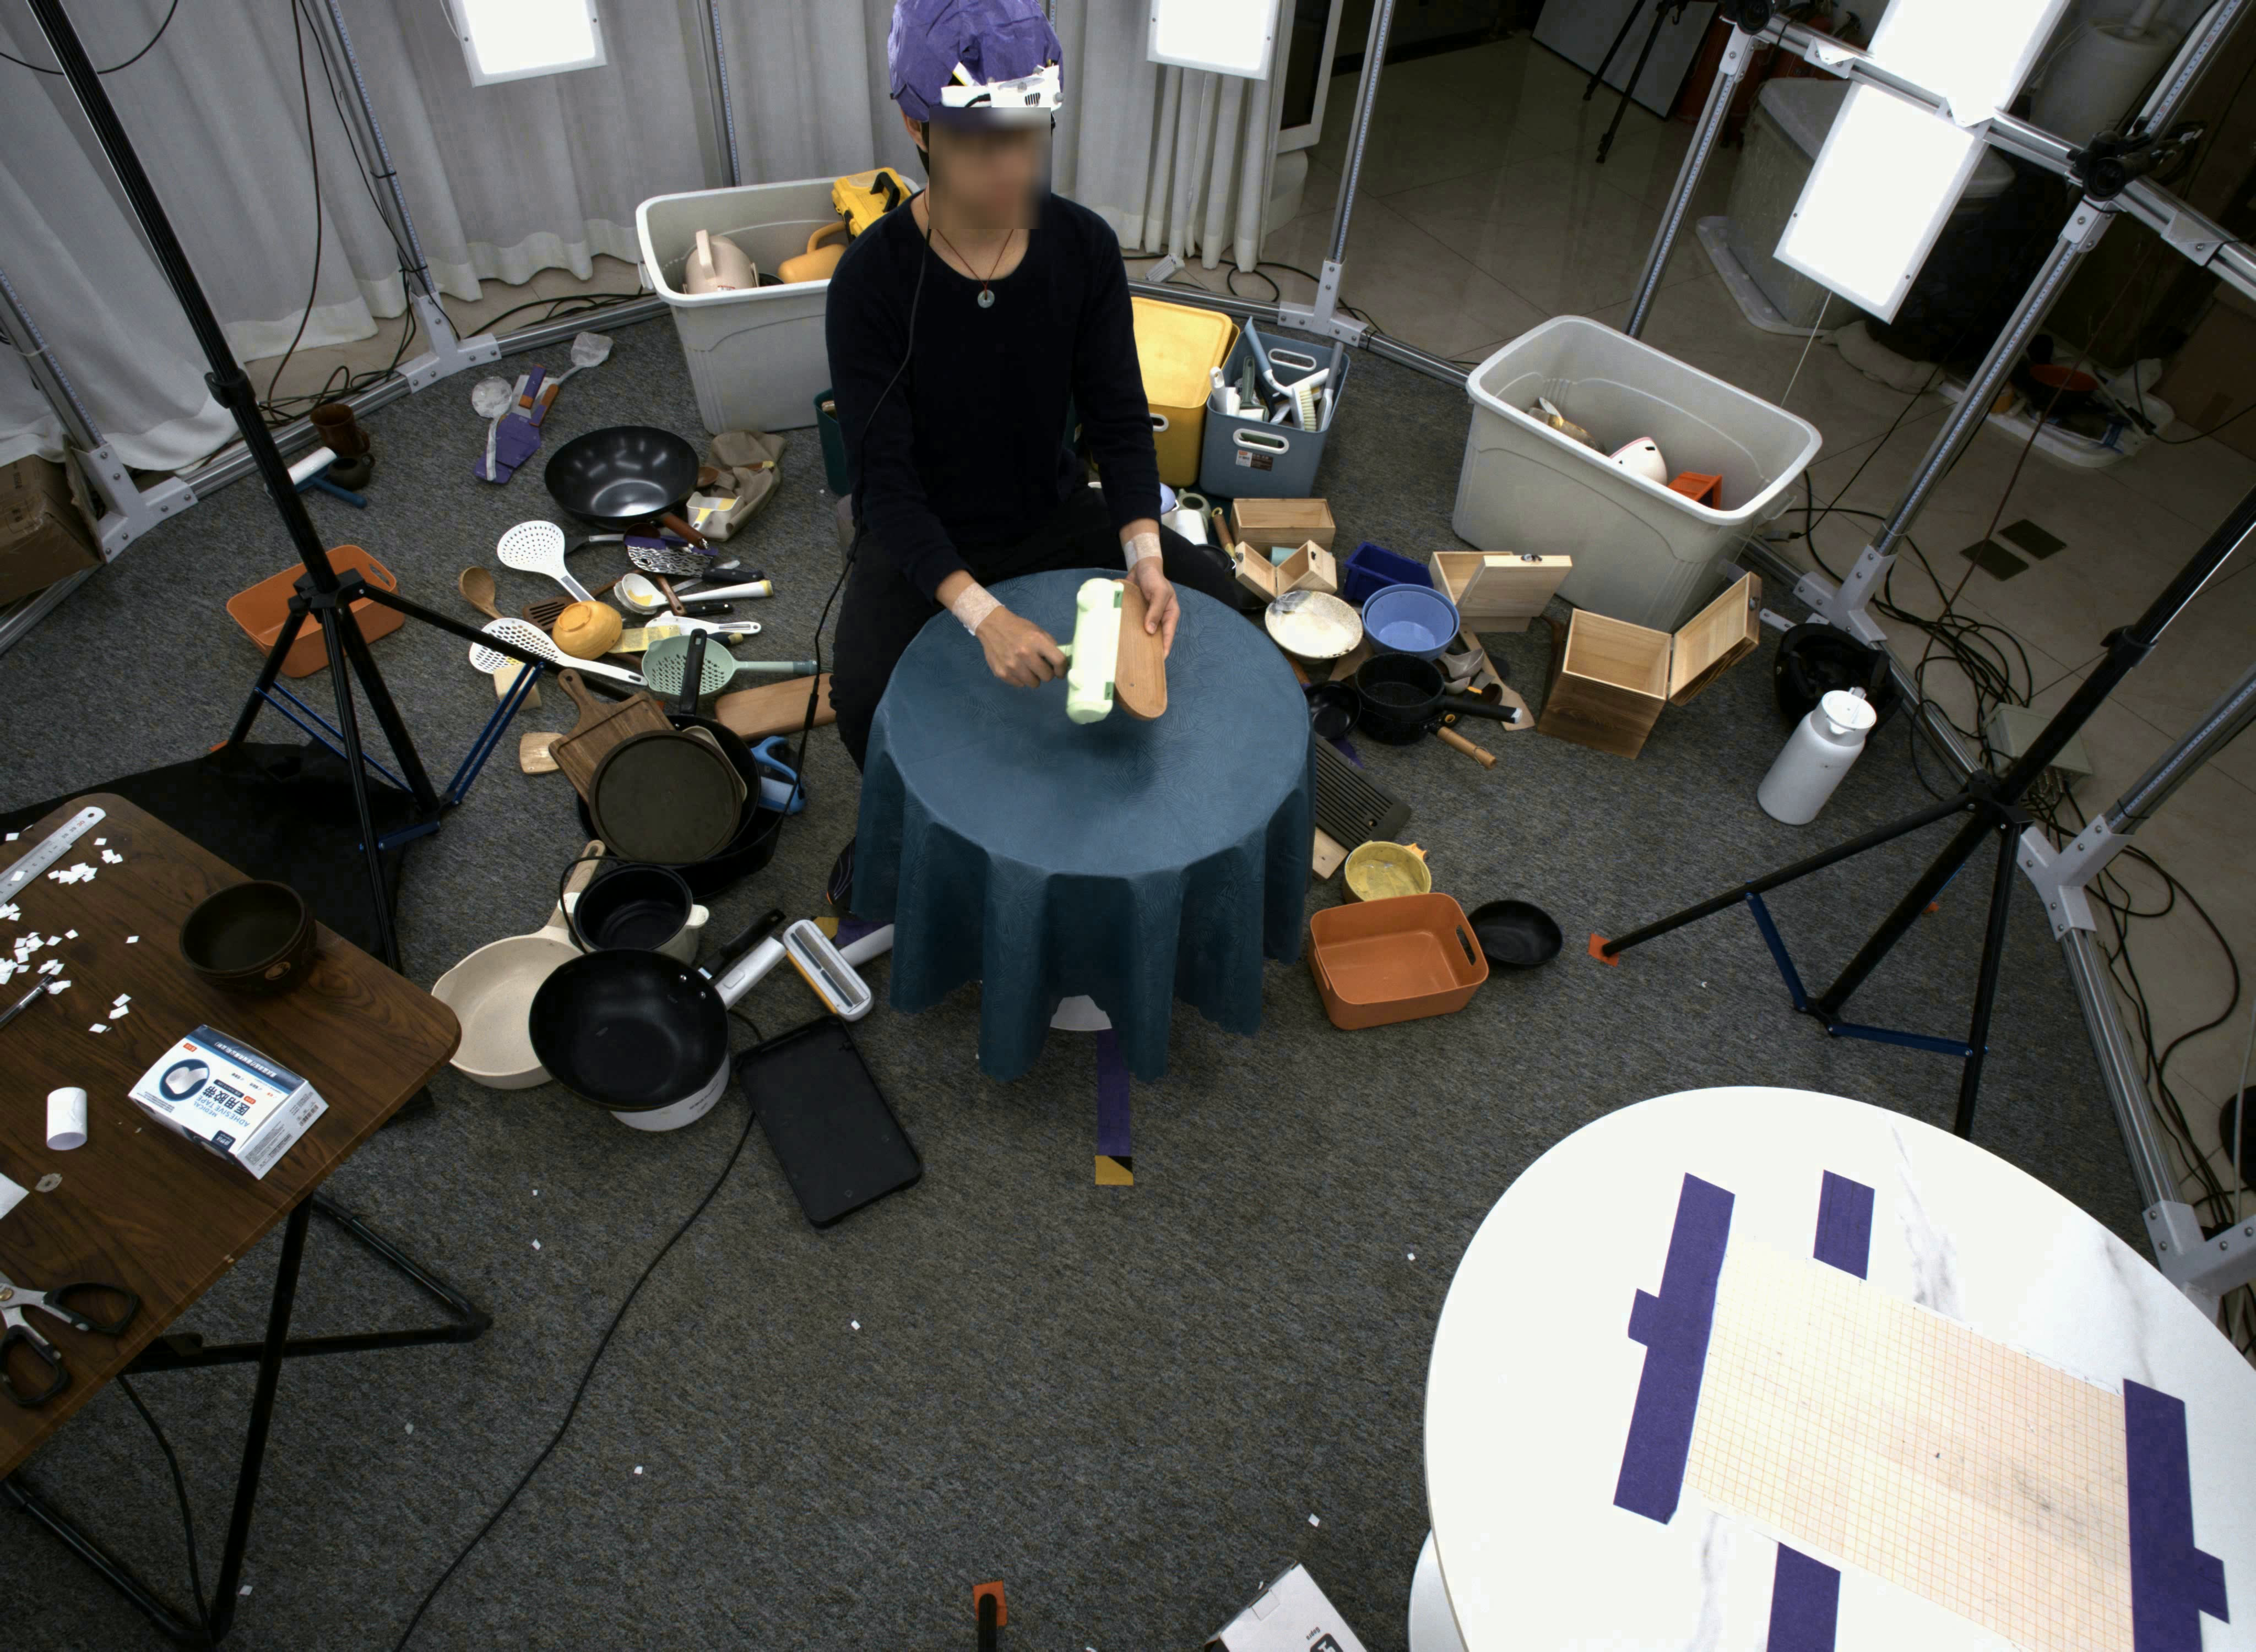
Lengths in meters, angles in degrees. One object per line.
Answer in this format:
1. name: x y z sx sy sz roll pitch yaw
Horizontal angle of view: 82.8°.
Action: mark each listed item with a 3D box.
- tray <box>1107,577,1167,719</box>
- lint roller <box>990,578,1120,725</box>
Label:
1. tray: 0.007 -0.244 1.751 0.100 0.020 0.237 24 46 -35
2. lint roller: -0.106 -0.232 1.690 0.183 0.080 0.202 -1 66 15
